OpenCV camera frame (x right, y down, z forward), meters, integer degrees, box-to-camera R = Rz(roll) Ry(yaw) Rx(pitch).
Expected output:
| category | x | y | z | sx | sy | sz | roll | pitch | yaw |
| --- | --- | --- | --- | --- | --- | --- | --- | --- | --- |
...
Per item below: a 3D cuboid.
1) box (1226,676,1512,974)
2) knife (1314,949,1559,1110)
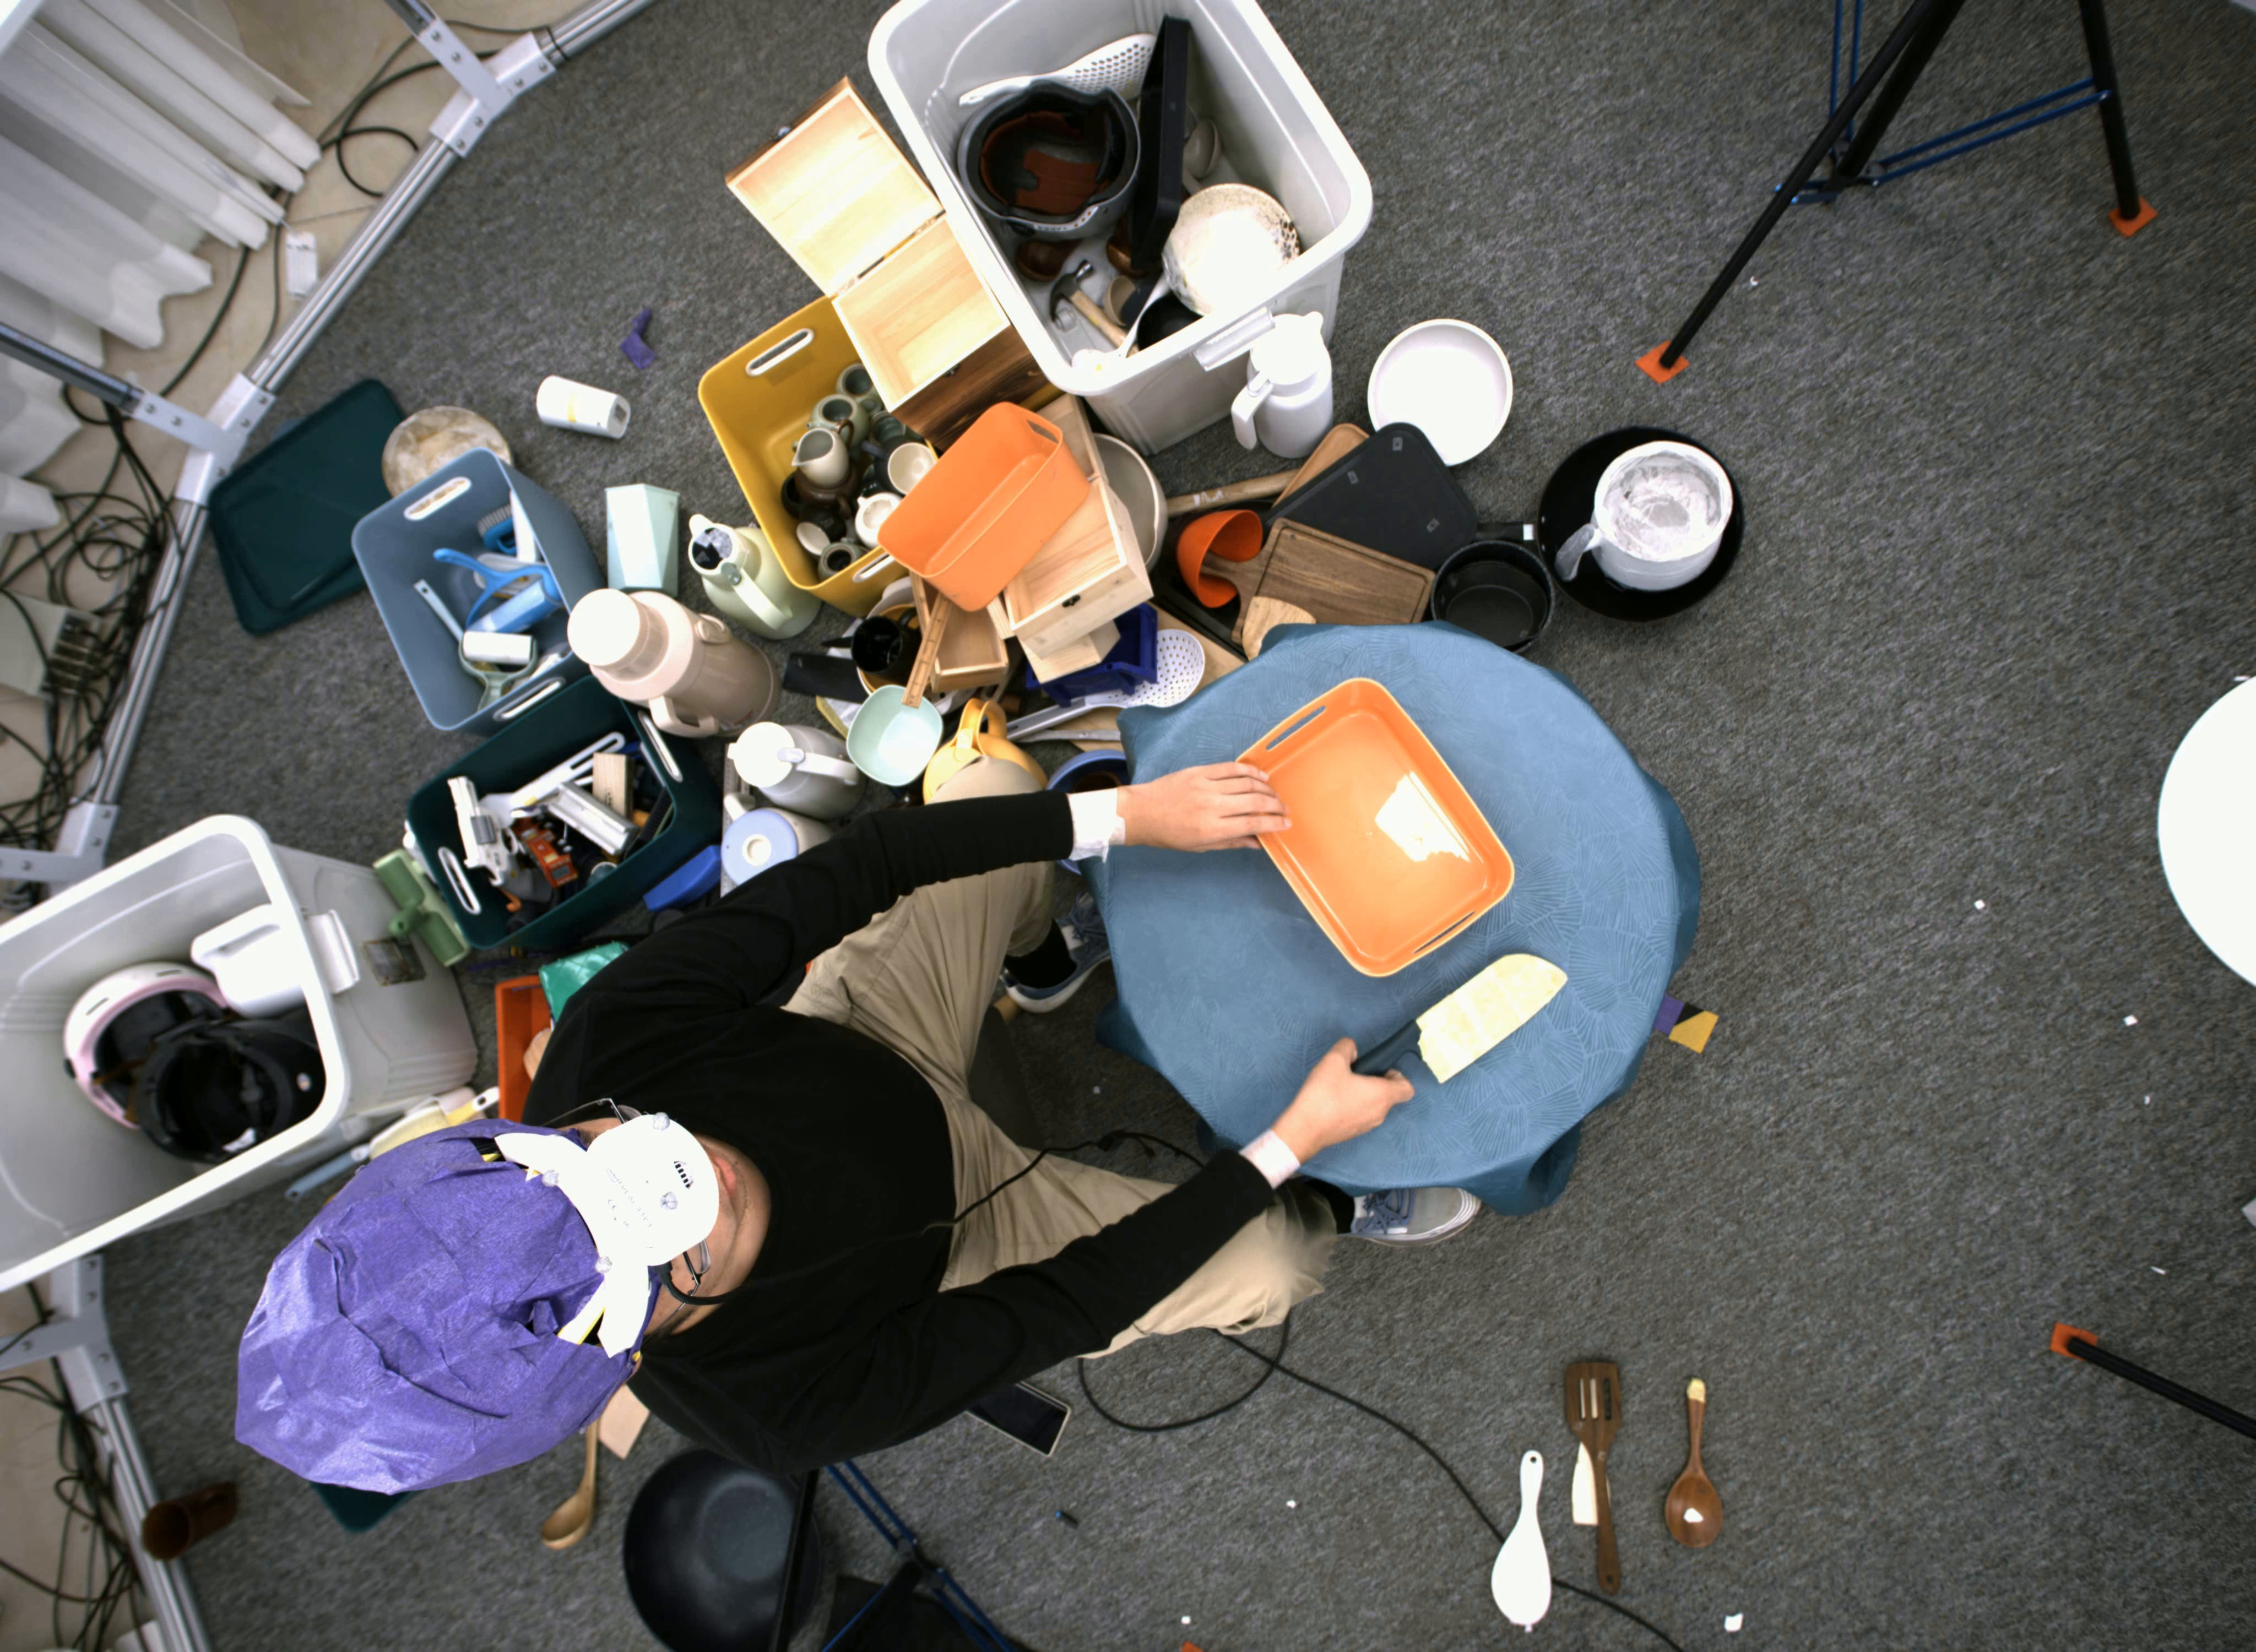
| category | x | y | z | sx | sy | sz | roll | pitch | yaw |
| --- | --- | --- | --- | --- | --- | --- | --- | --- | --- |
| box | 0.244 | 0.003 | 1.416 | 0.200 | 0.102 | 0.271 | -36 | 81 | 5 |
| knife | 0.320 | 0.214 | 1.415 | 0.289 | 0.027 | 0.081 | -32 | 92 | 0 |
